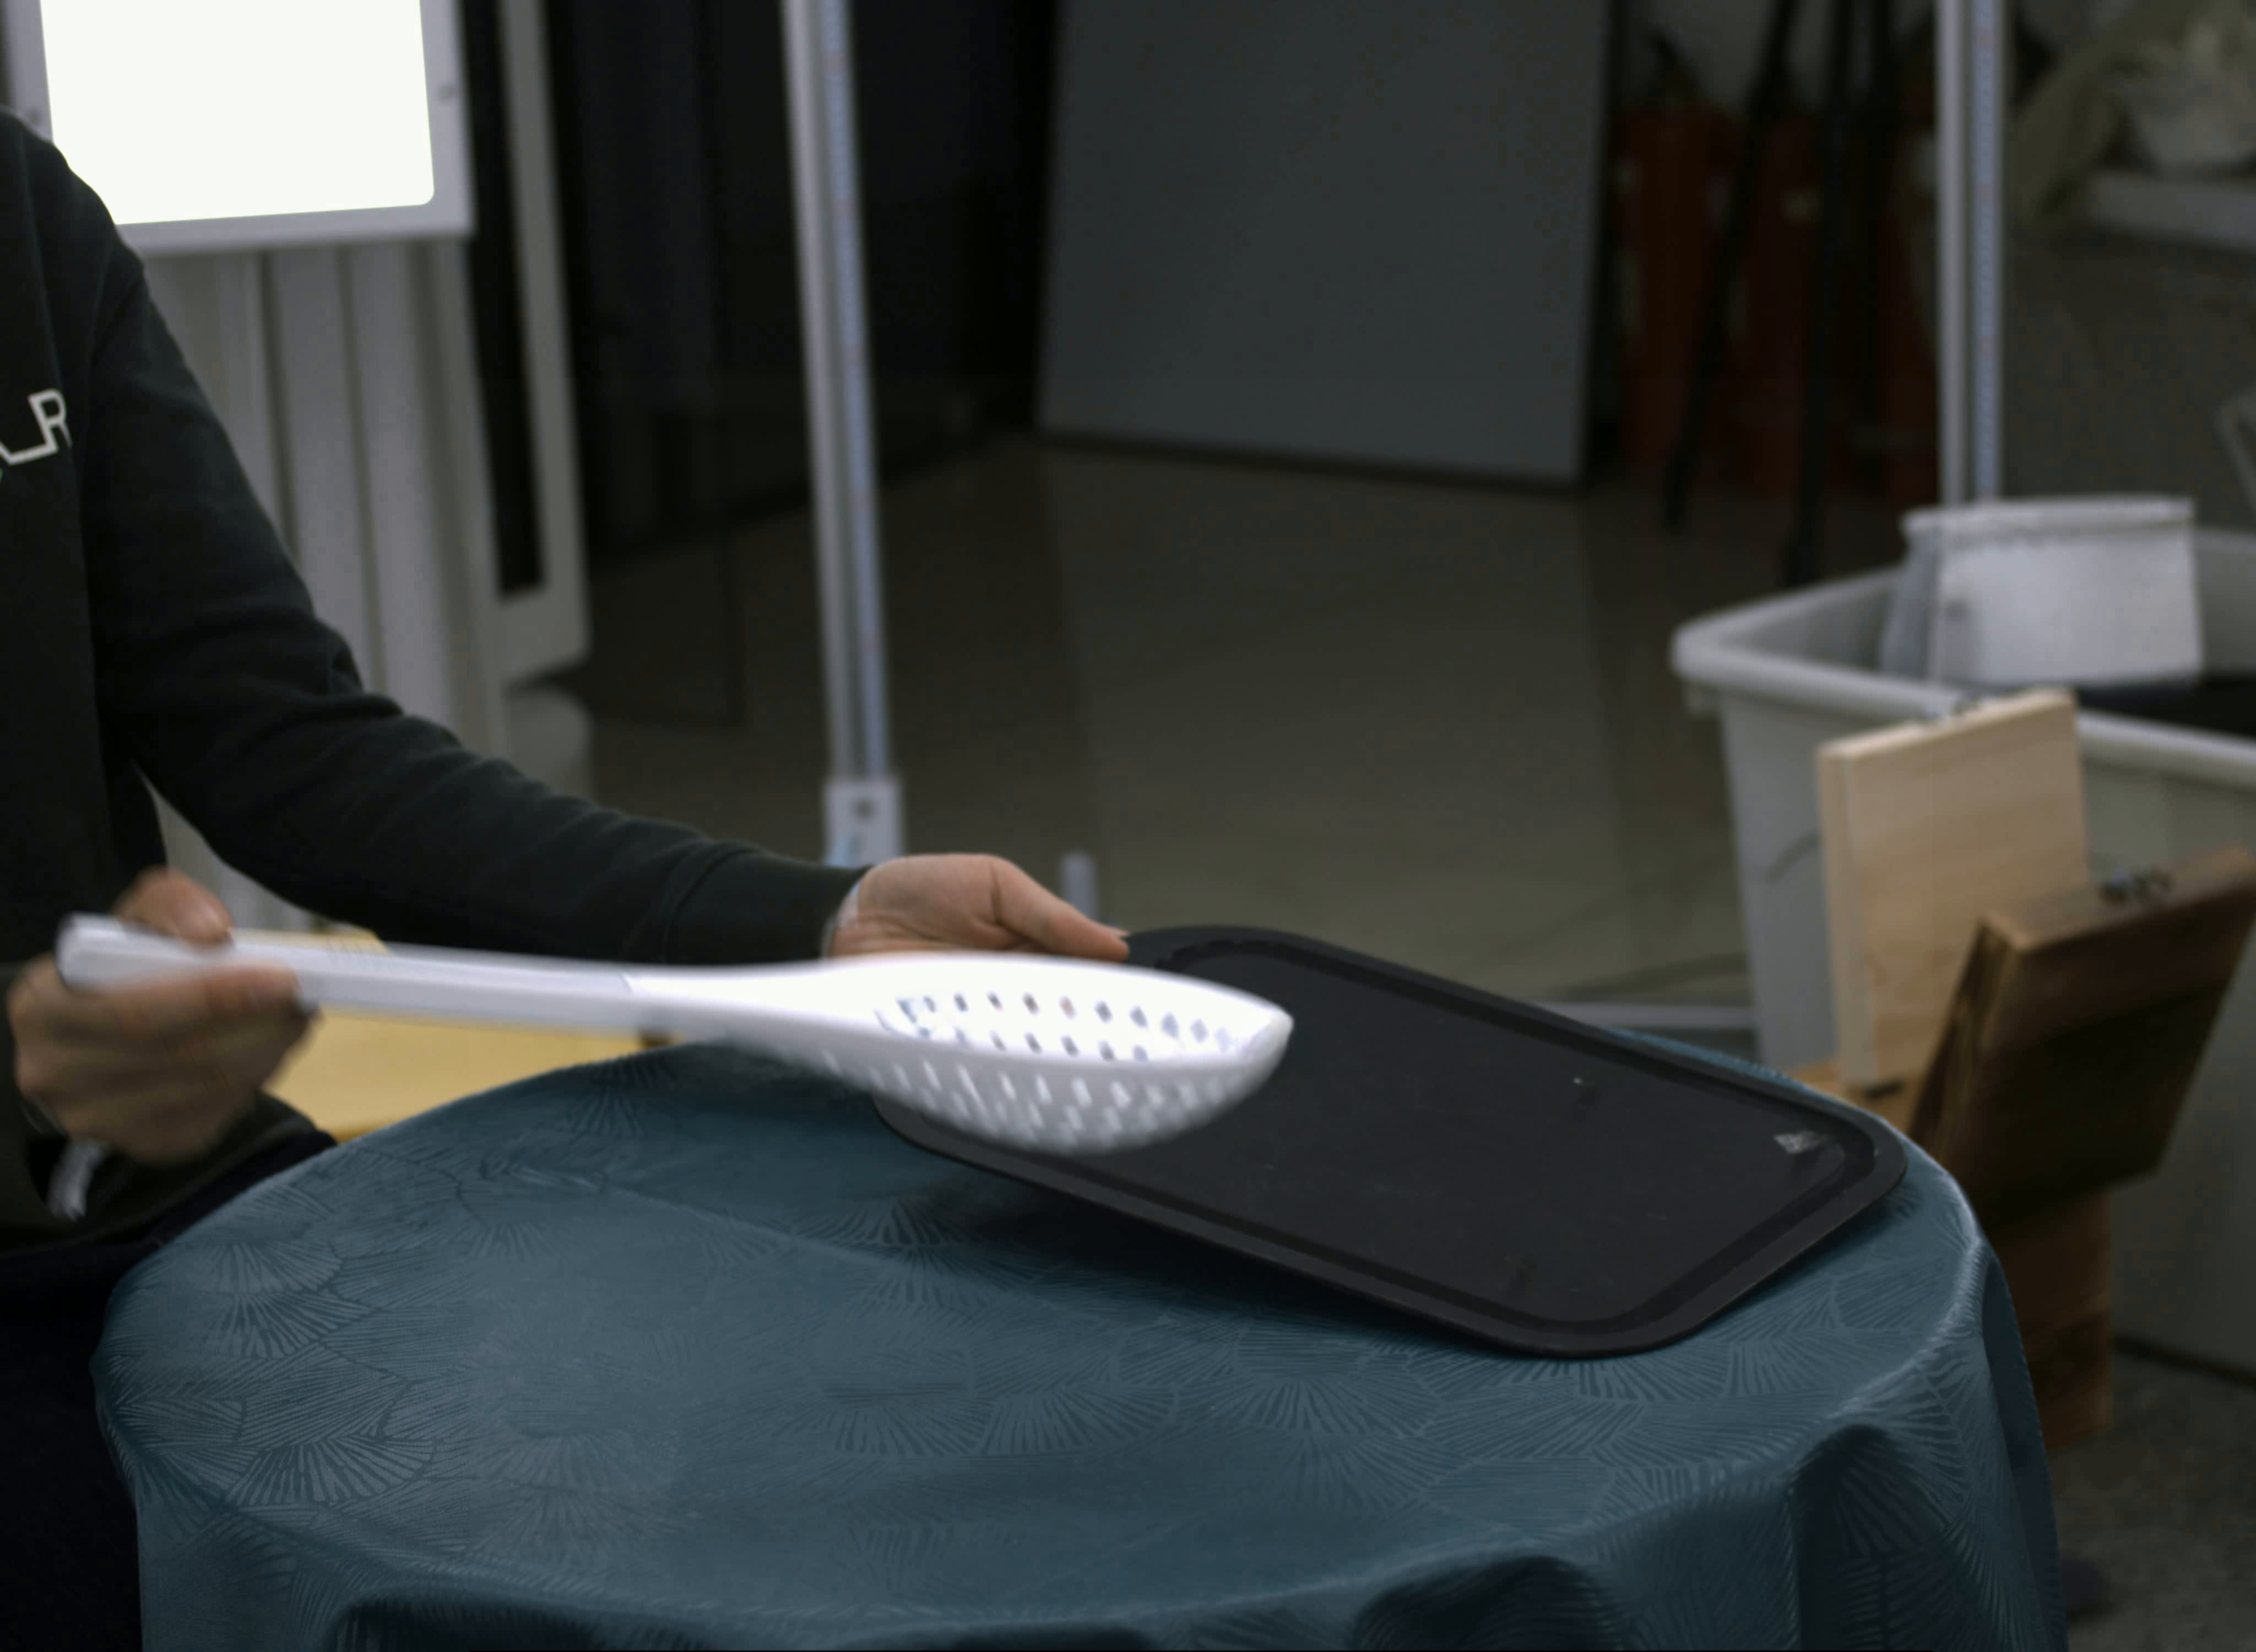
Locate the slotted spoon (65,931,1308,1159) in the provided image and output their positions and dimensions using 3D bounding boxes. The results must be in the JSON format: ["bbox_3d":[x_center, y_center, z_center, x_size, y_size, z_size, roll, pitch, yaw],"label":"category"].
[{"bbox_3d":[-0.122,0.052,1.518,0.344,0.046,0.136,9,7,-7],"label":"slotted spoon"}]

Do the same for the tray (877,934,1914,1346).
[{"bbox_3d":[0.077,0.093,1.735,0.327,0.010,0.207,15,27,35],"label":"tray"}]
